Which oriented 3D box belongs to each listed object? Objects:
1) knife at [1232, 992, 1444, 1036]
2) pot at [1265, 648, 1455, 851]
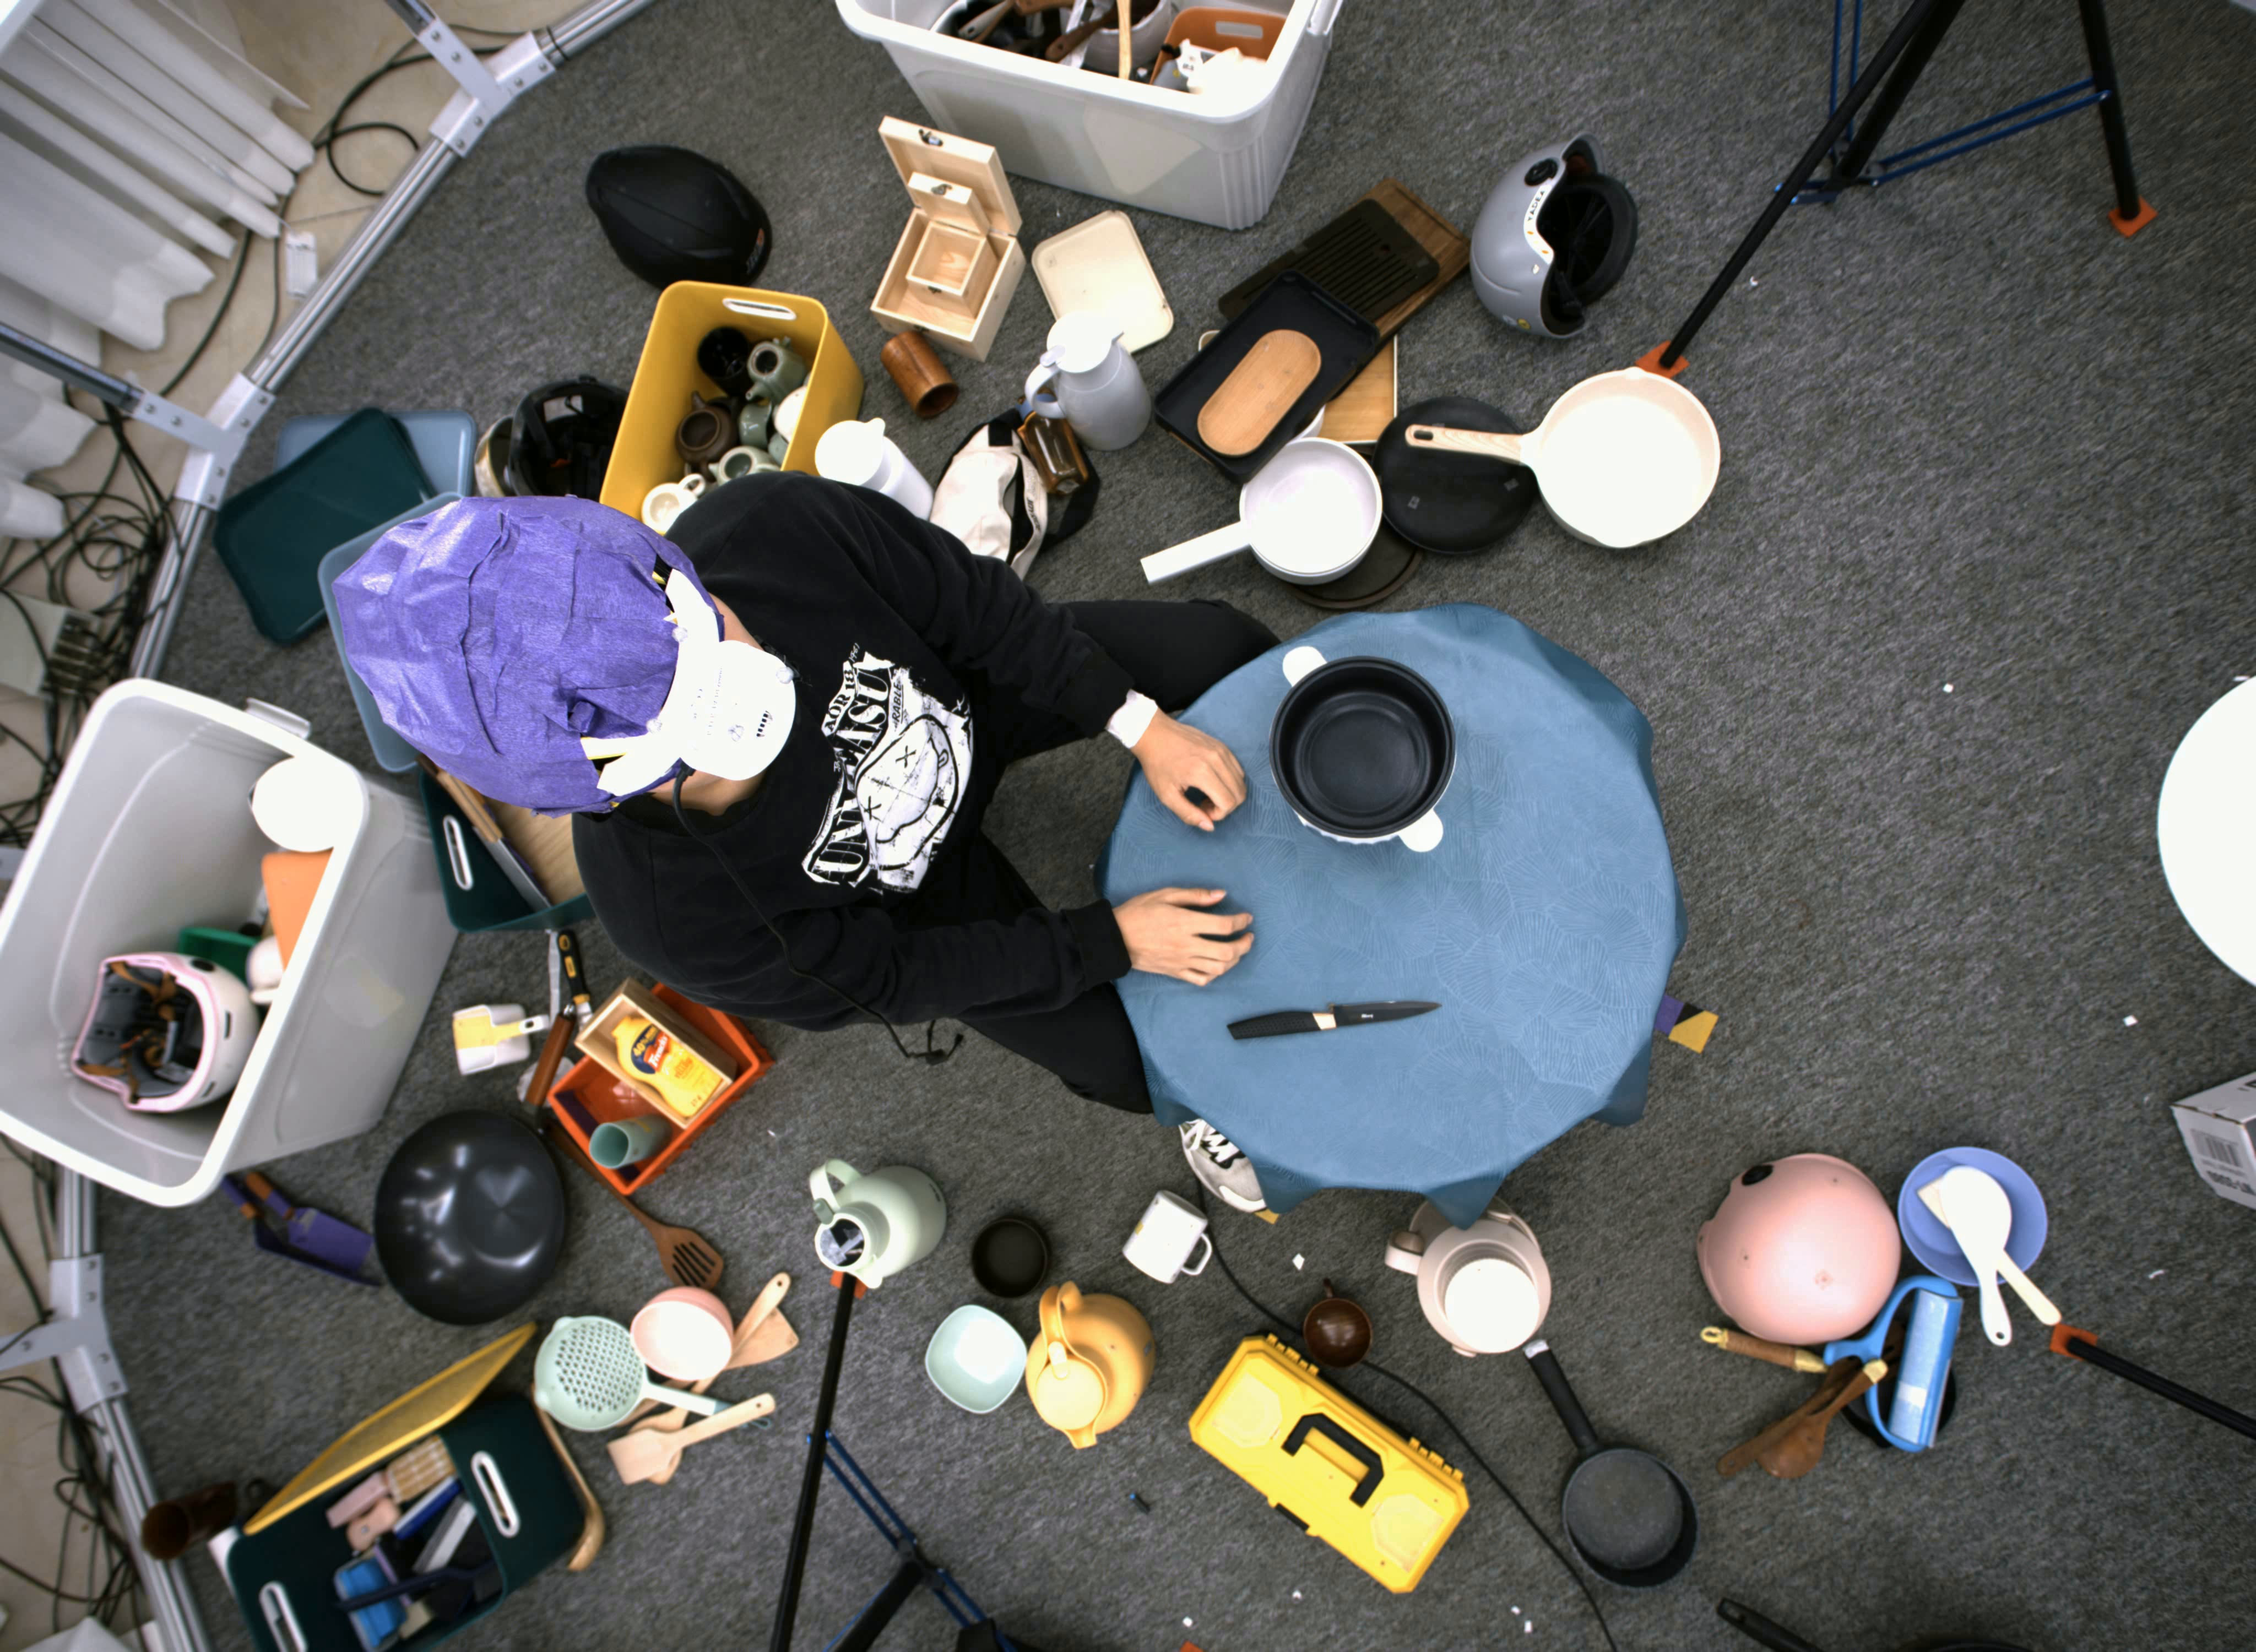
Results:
[{"bbox_3d":[0.221,0.198,1.460,0.226,0.017,0.026,-9,69,9],"label":"knife"},{"bbox_3d":[0.242,-0.076,1.403,0.192,0.142,0.239,-36,82,10],"label":"pot"}]
